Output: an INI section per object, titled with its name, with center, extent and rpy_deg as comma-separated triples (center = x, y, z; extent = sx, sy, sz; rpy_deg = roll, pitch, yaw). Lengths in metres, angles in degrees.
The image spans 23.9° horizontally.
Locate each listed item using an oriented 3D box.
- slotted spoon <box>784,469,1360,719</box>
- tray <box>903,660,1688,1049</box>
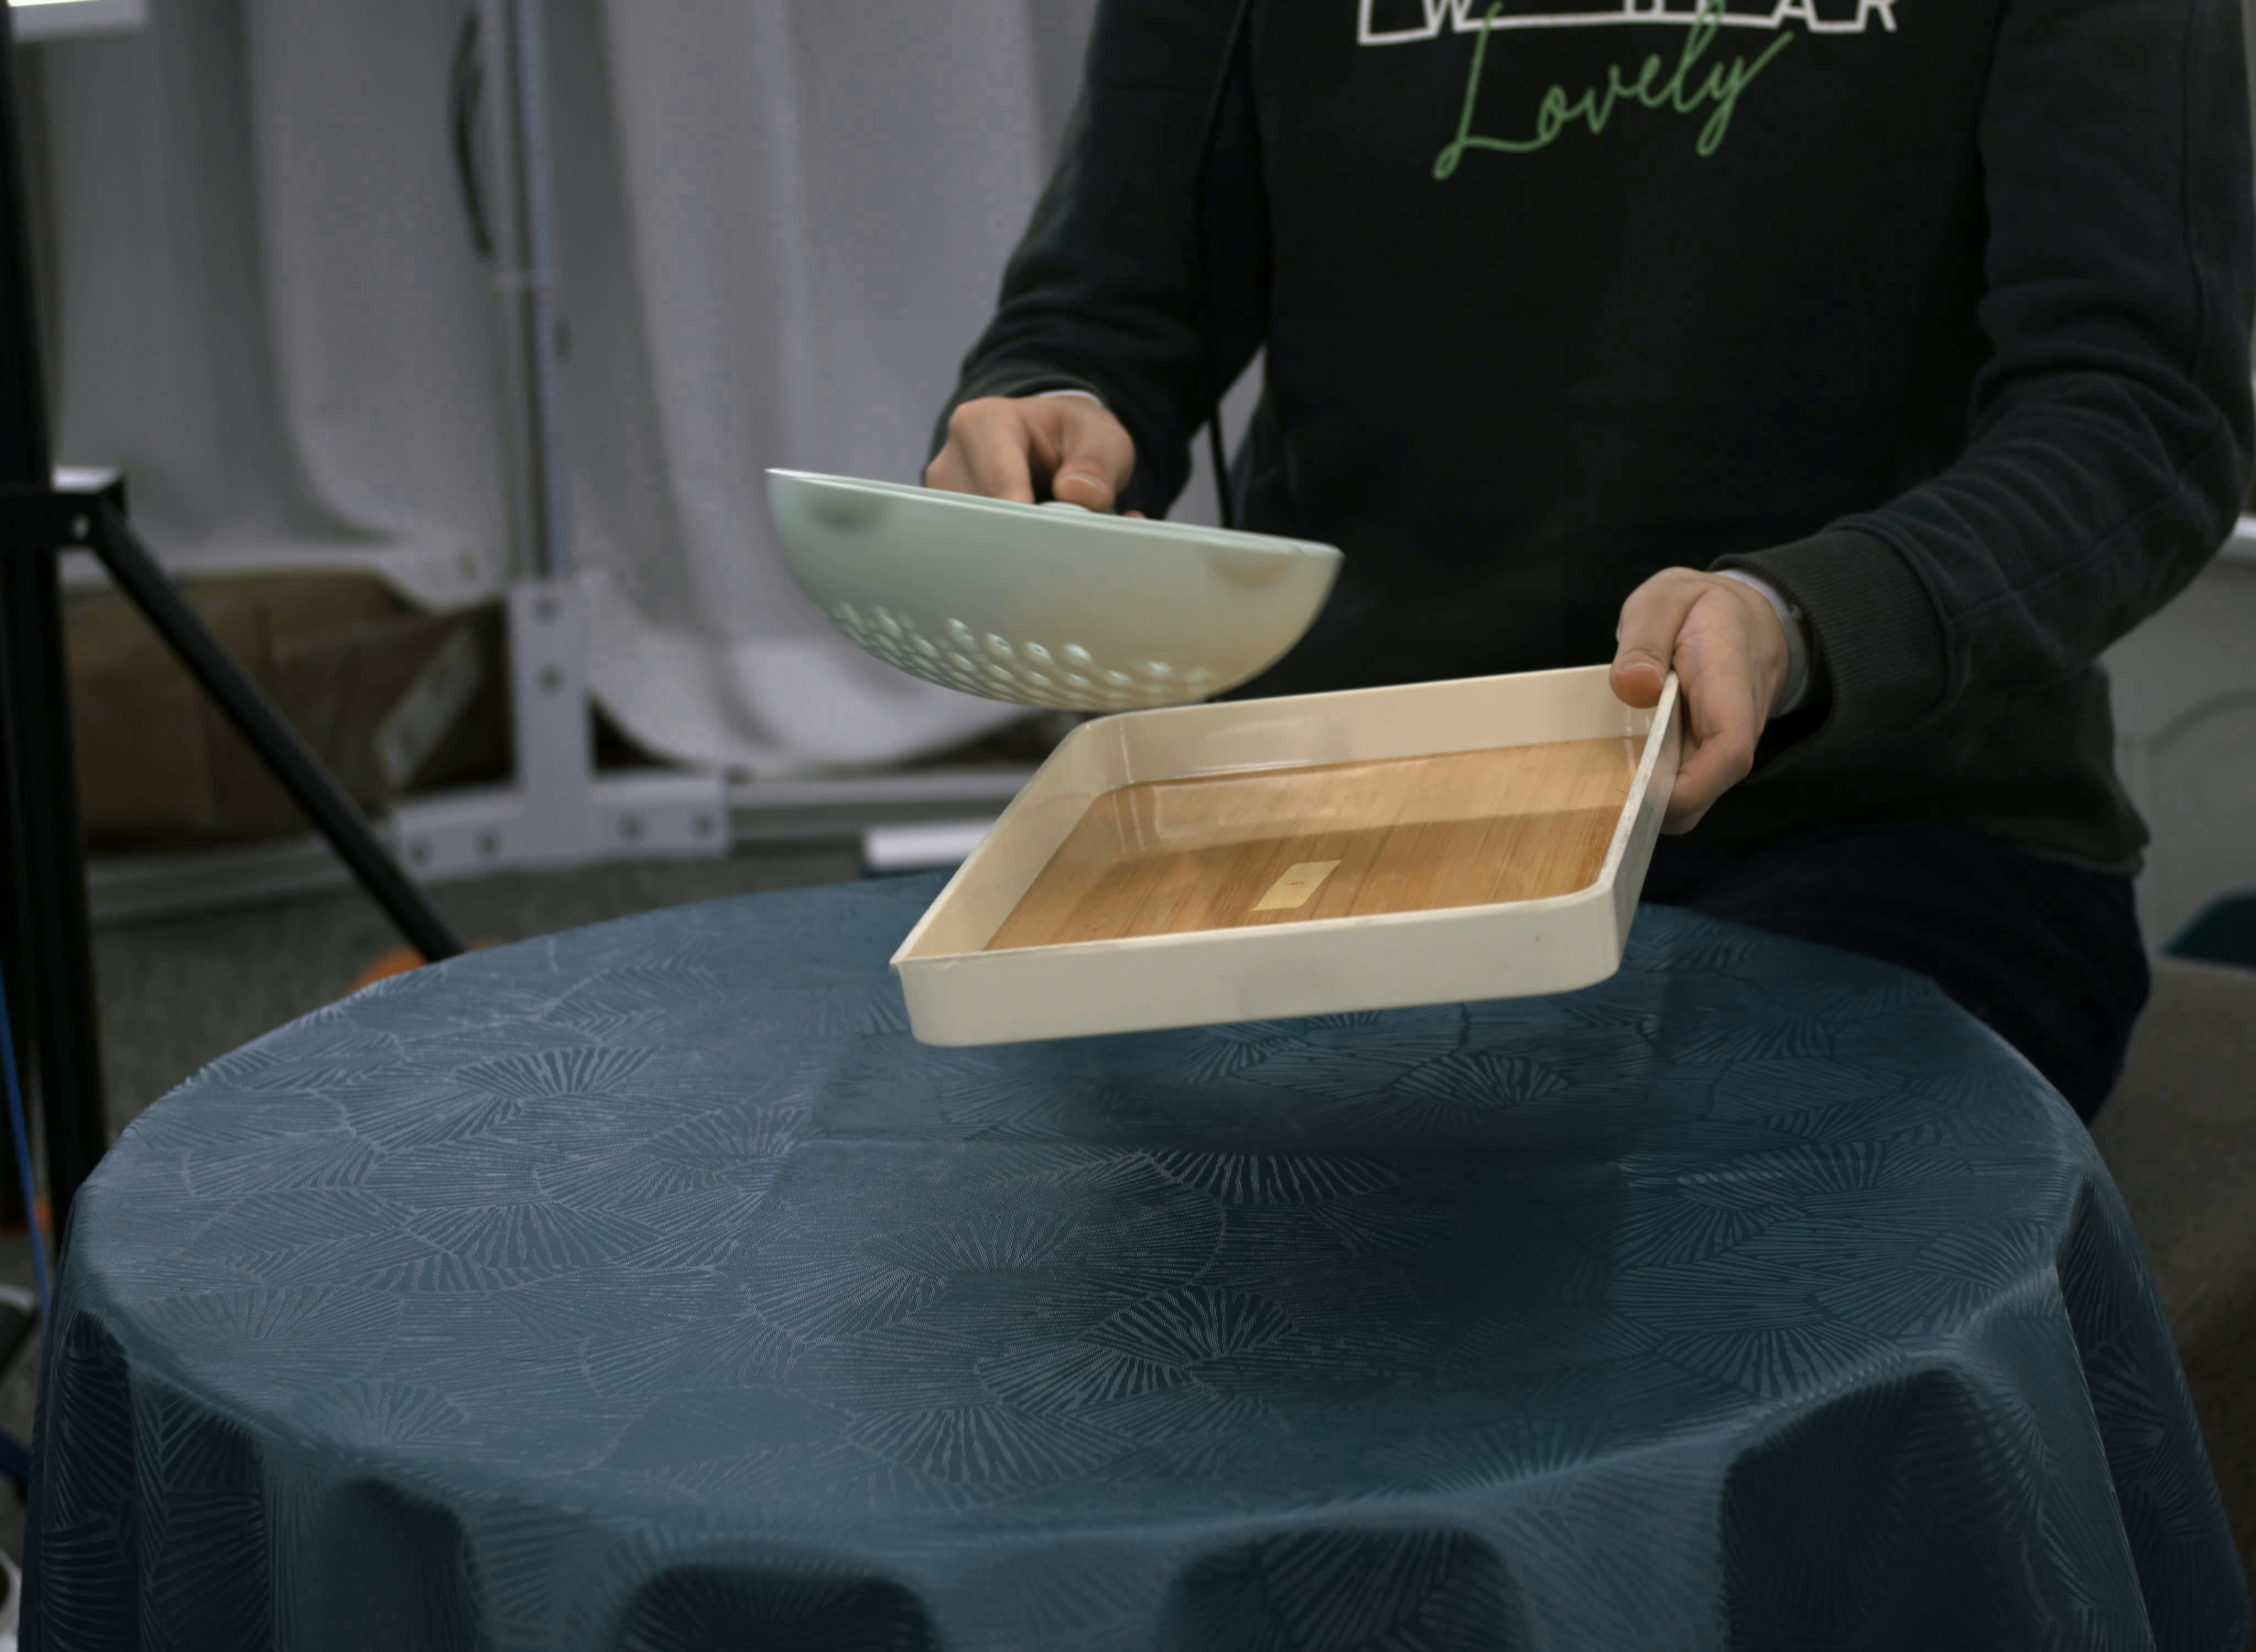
[slotted spoon]
center = -0.018, -0.085, 1.641
extent = 0.169, 0.075, 0.359
rpy_deg = 10, 12, 0
[tray]
center = 0.056, 0.005, 1.500
extent = 0.192, 0.027, 0.299
rpy_deg = -6, 13, 12
